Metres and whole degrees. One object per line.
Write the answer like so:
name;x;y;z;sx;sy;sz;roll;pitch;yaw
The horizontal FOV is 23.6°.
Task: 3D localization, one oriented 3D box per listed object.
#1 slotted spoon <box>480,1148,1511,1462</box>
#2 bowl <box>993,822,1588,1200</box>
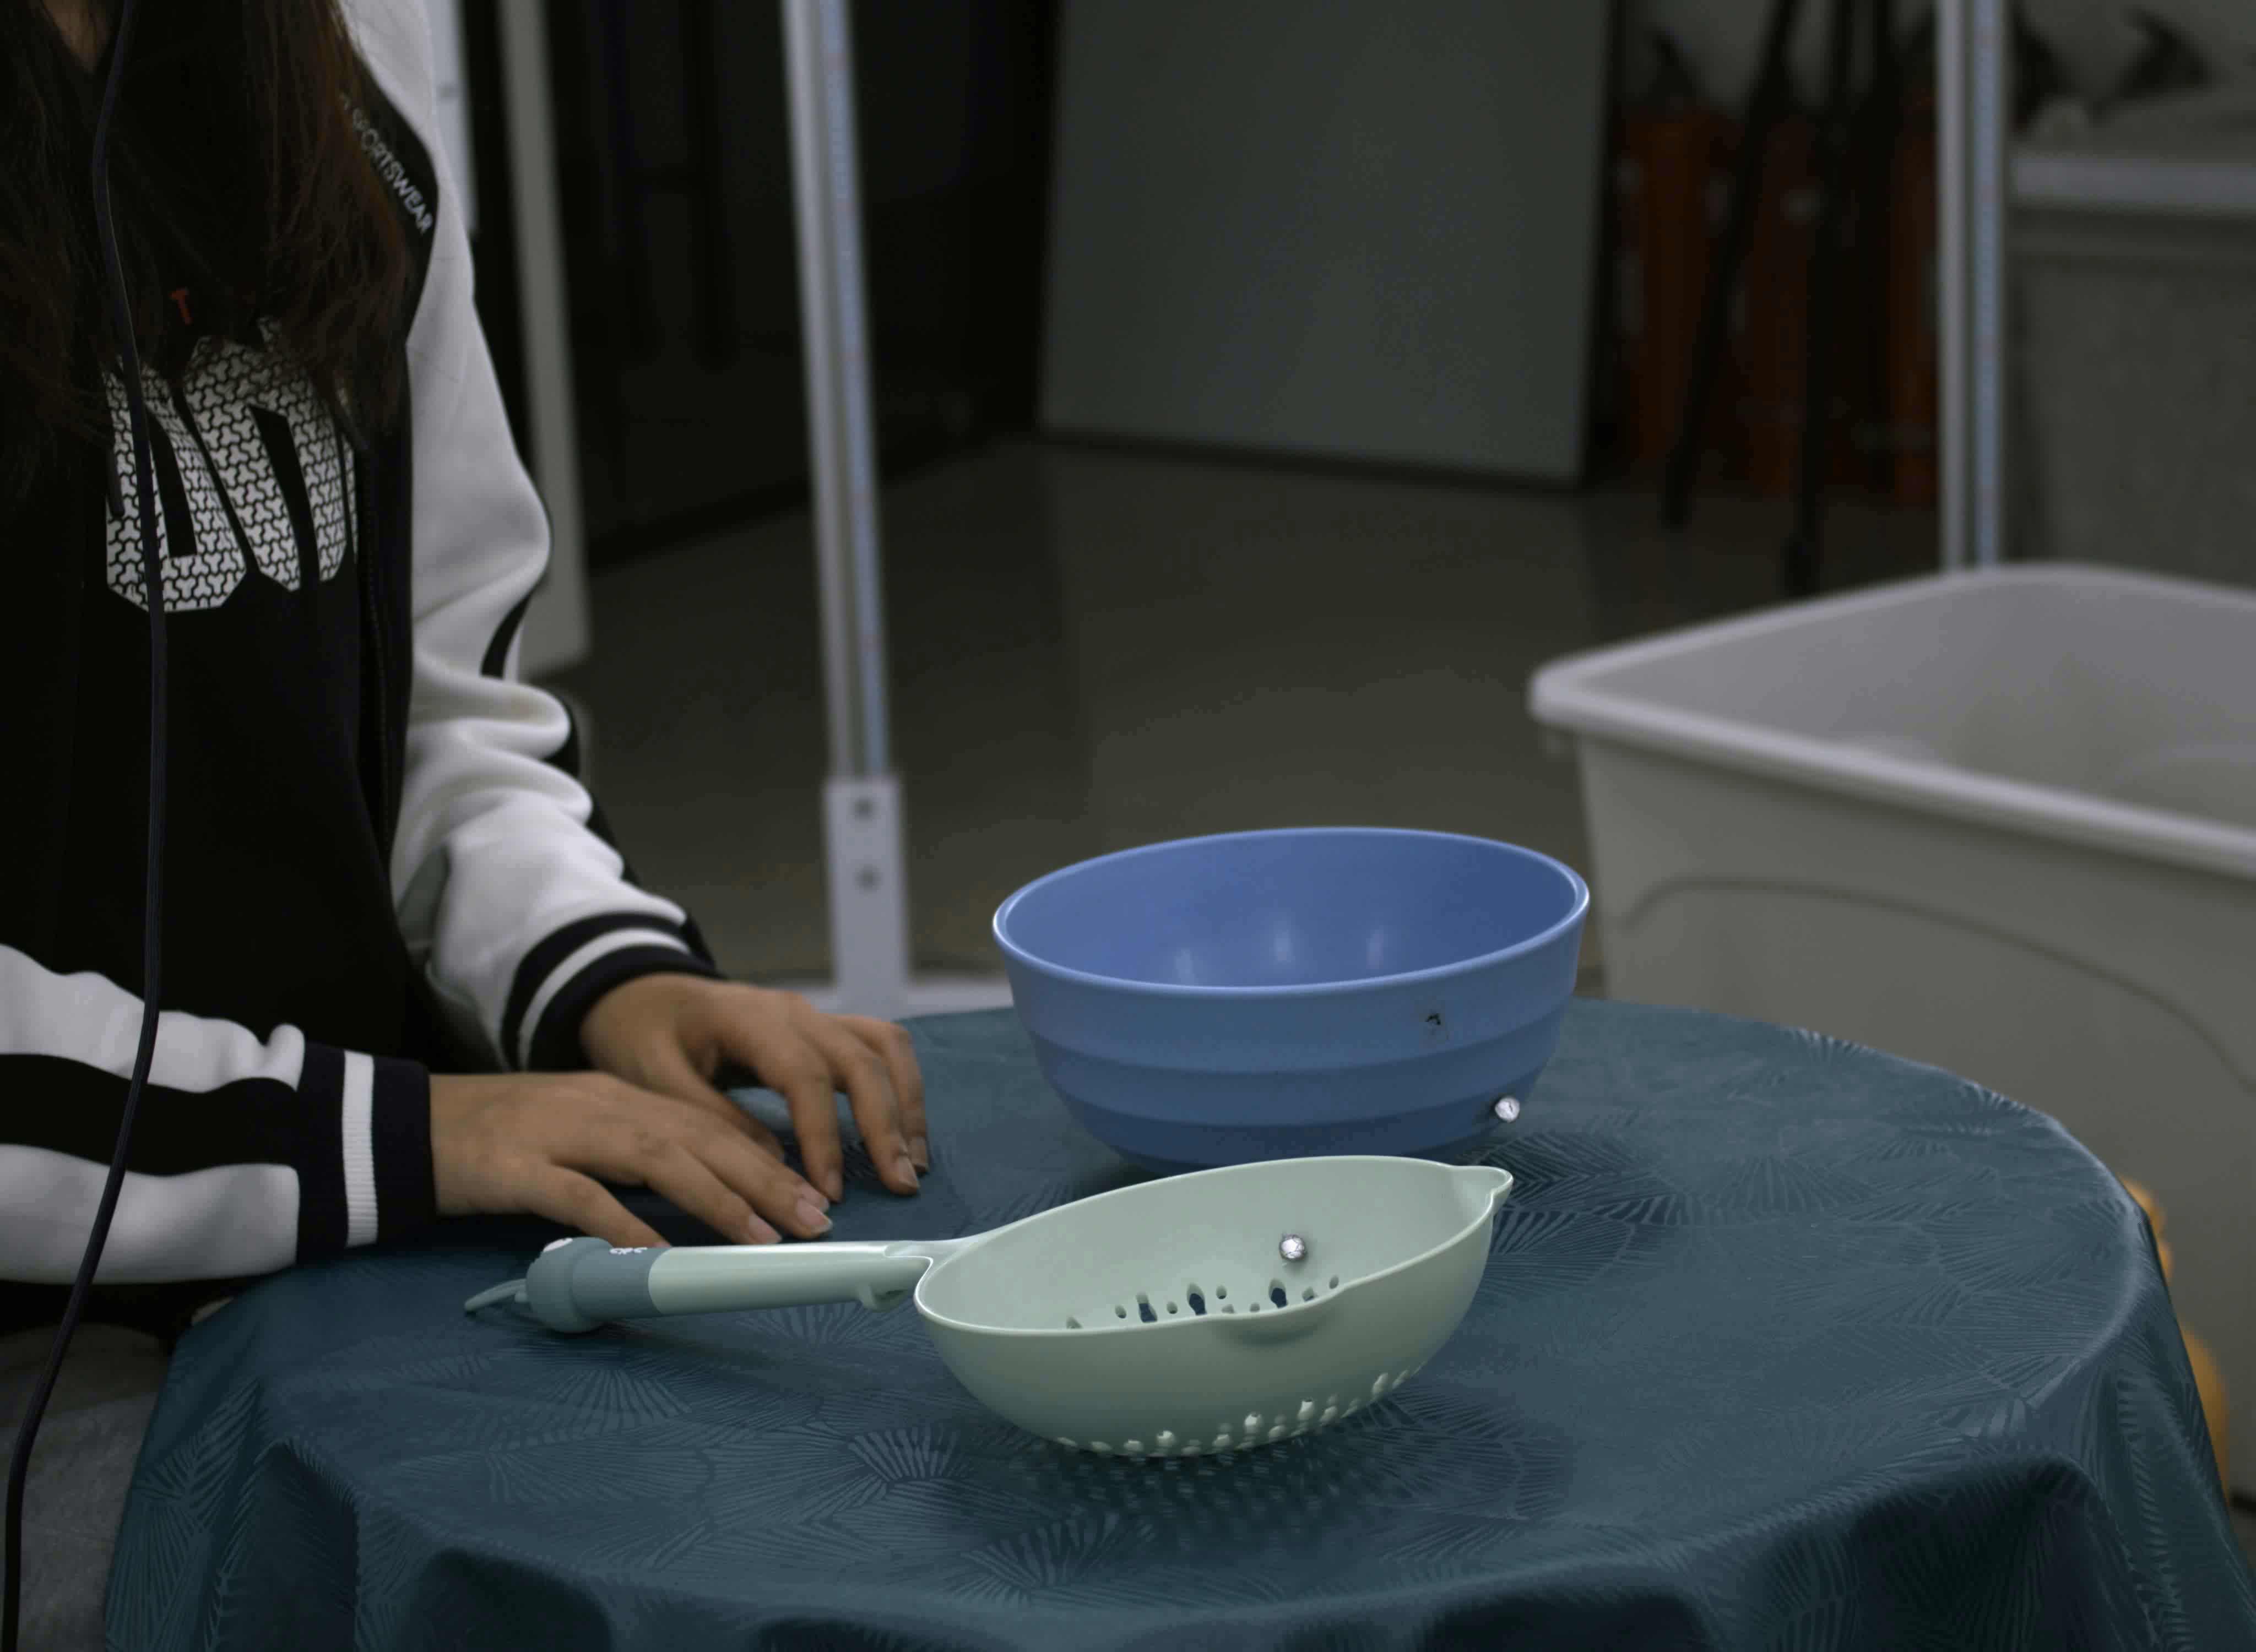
slotted spoon;-0.055;0.138;1.593;0.361;0.076;0.166;3;15;34
bowl;0.056;0.070;1.762;0.194;0.096;0.197;-5;14;0
